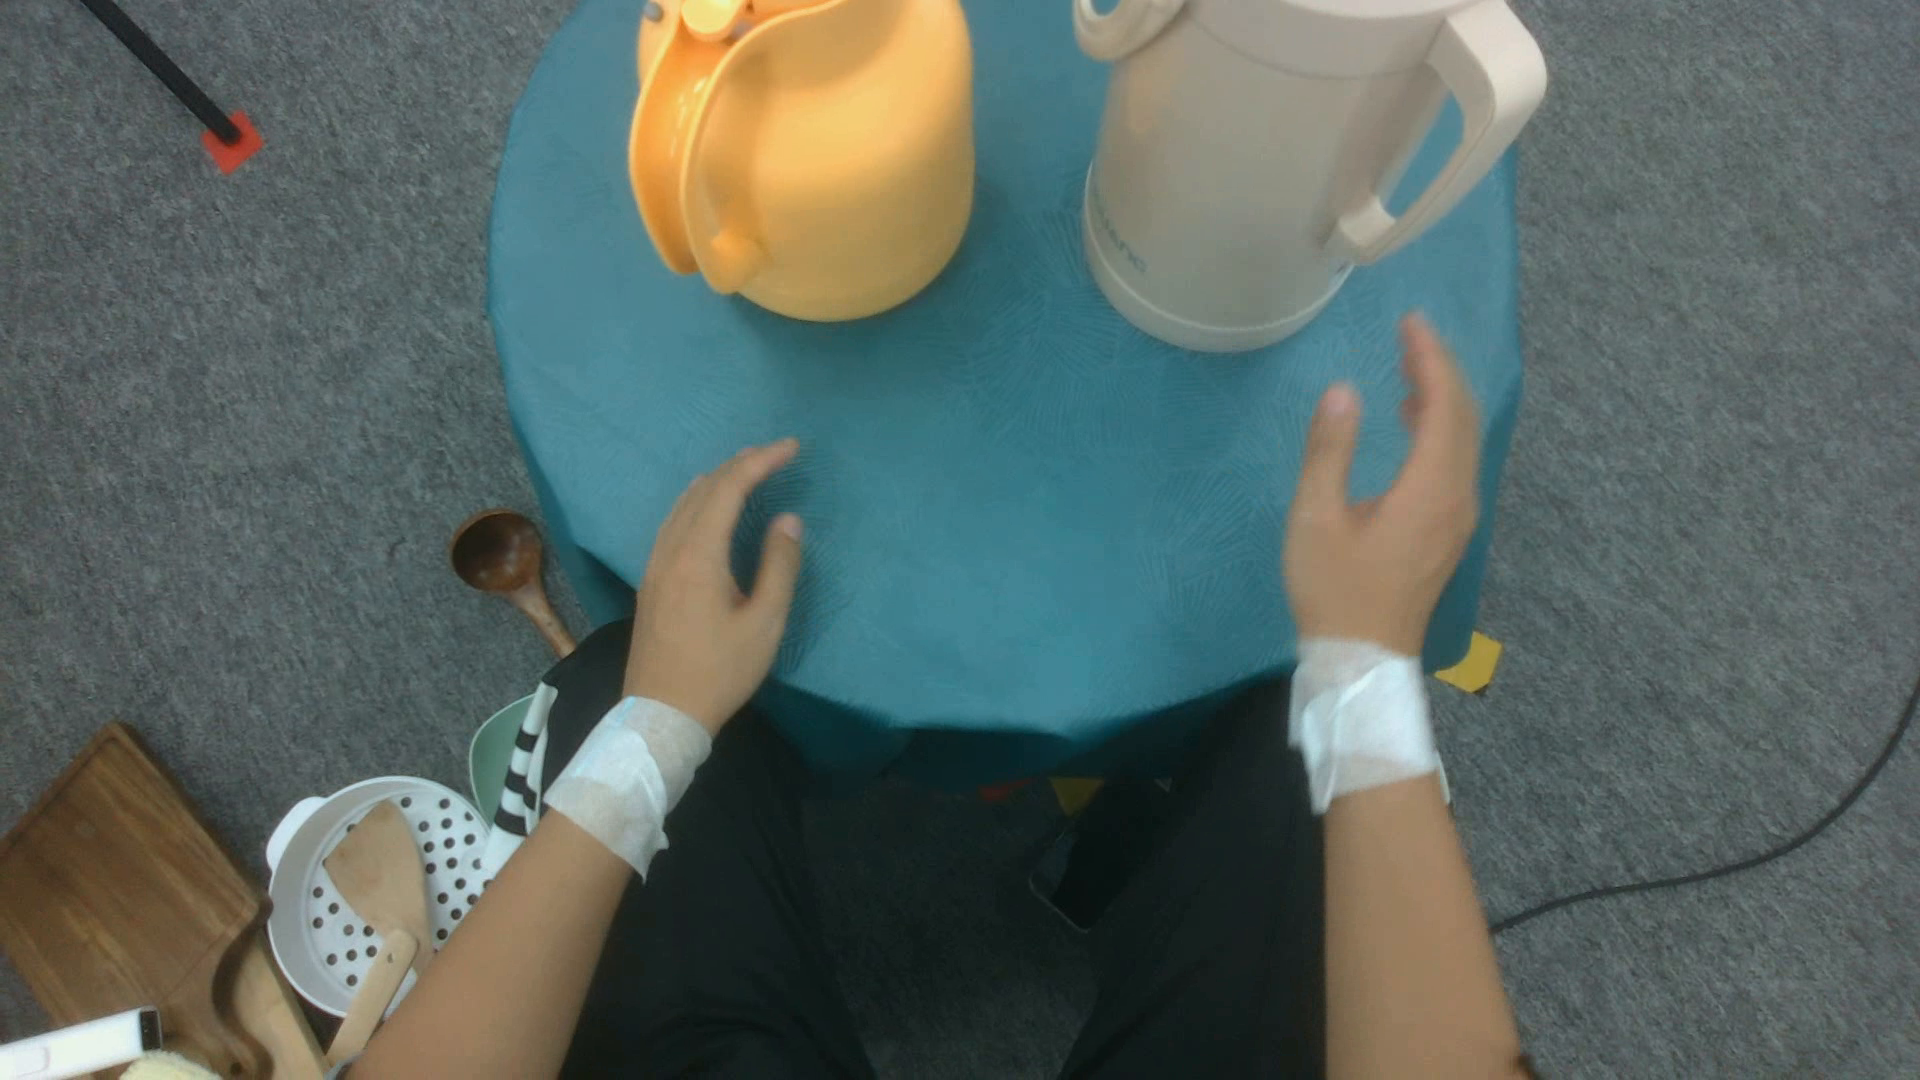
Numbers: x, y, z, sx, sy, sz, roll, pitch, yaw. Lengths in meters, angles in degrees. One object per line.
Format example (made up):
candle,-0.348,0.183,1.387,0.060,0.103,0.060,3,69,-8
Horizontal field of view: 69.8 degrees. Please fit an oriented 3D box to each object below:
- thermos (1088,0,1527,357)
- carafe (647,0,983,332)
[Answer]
thermos,0.157,-0.222,0.623,0.175,0.405,0.207,-28,75,-8
carafe,-0.080,-0.208,0.691,0.163,0.259,0.203,27,75,10
